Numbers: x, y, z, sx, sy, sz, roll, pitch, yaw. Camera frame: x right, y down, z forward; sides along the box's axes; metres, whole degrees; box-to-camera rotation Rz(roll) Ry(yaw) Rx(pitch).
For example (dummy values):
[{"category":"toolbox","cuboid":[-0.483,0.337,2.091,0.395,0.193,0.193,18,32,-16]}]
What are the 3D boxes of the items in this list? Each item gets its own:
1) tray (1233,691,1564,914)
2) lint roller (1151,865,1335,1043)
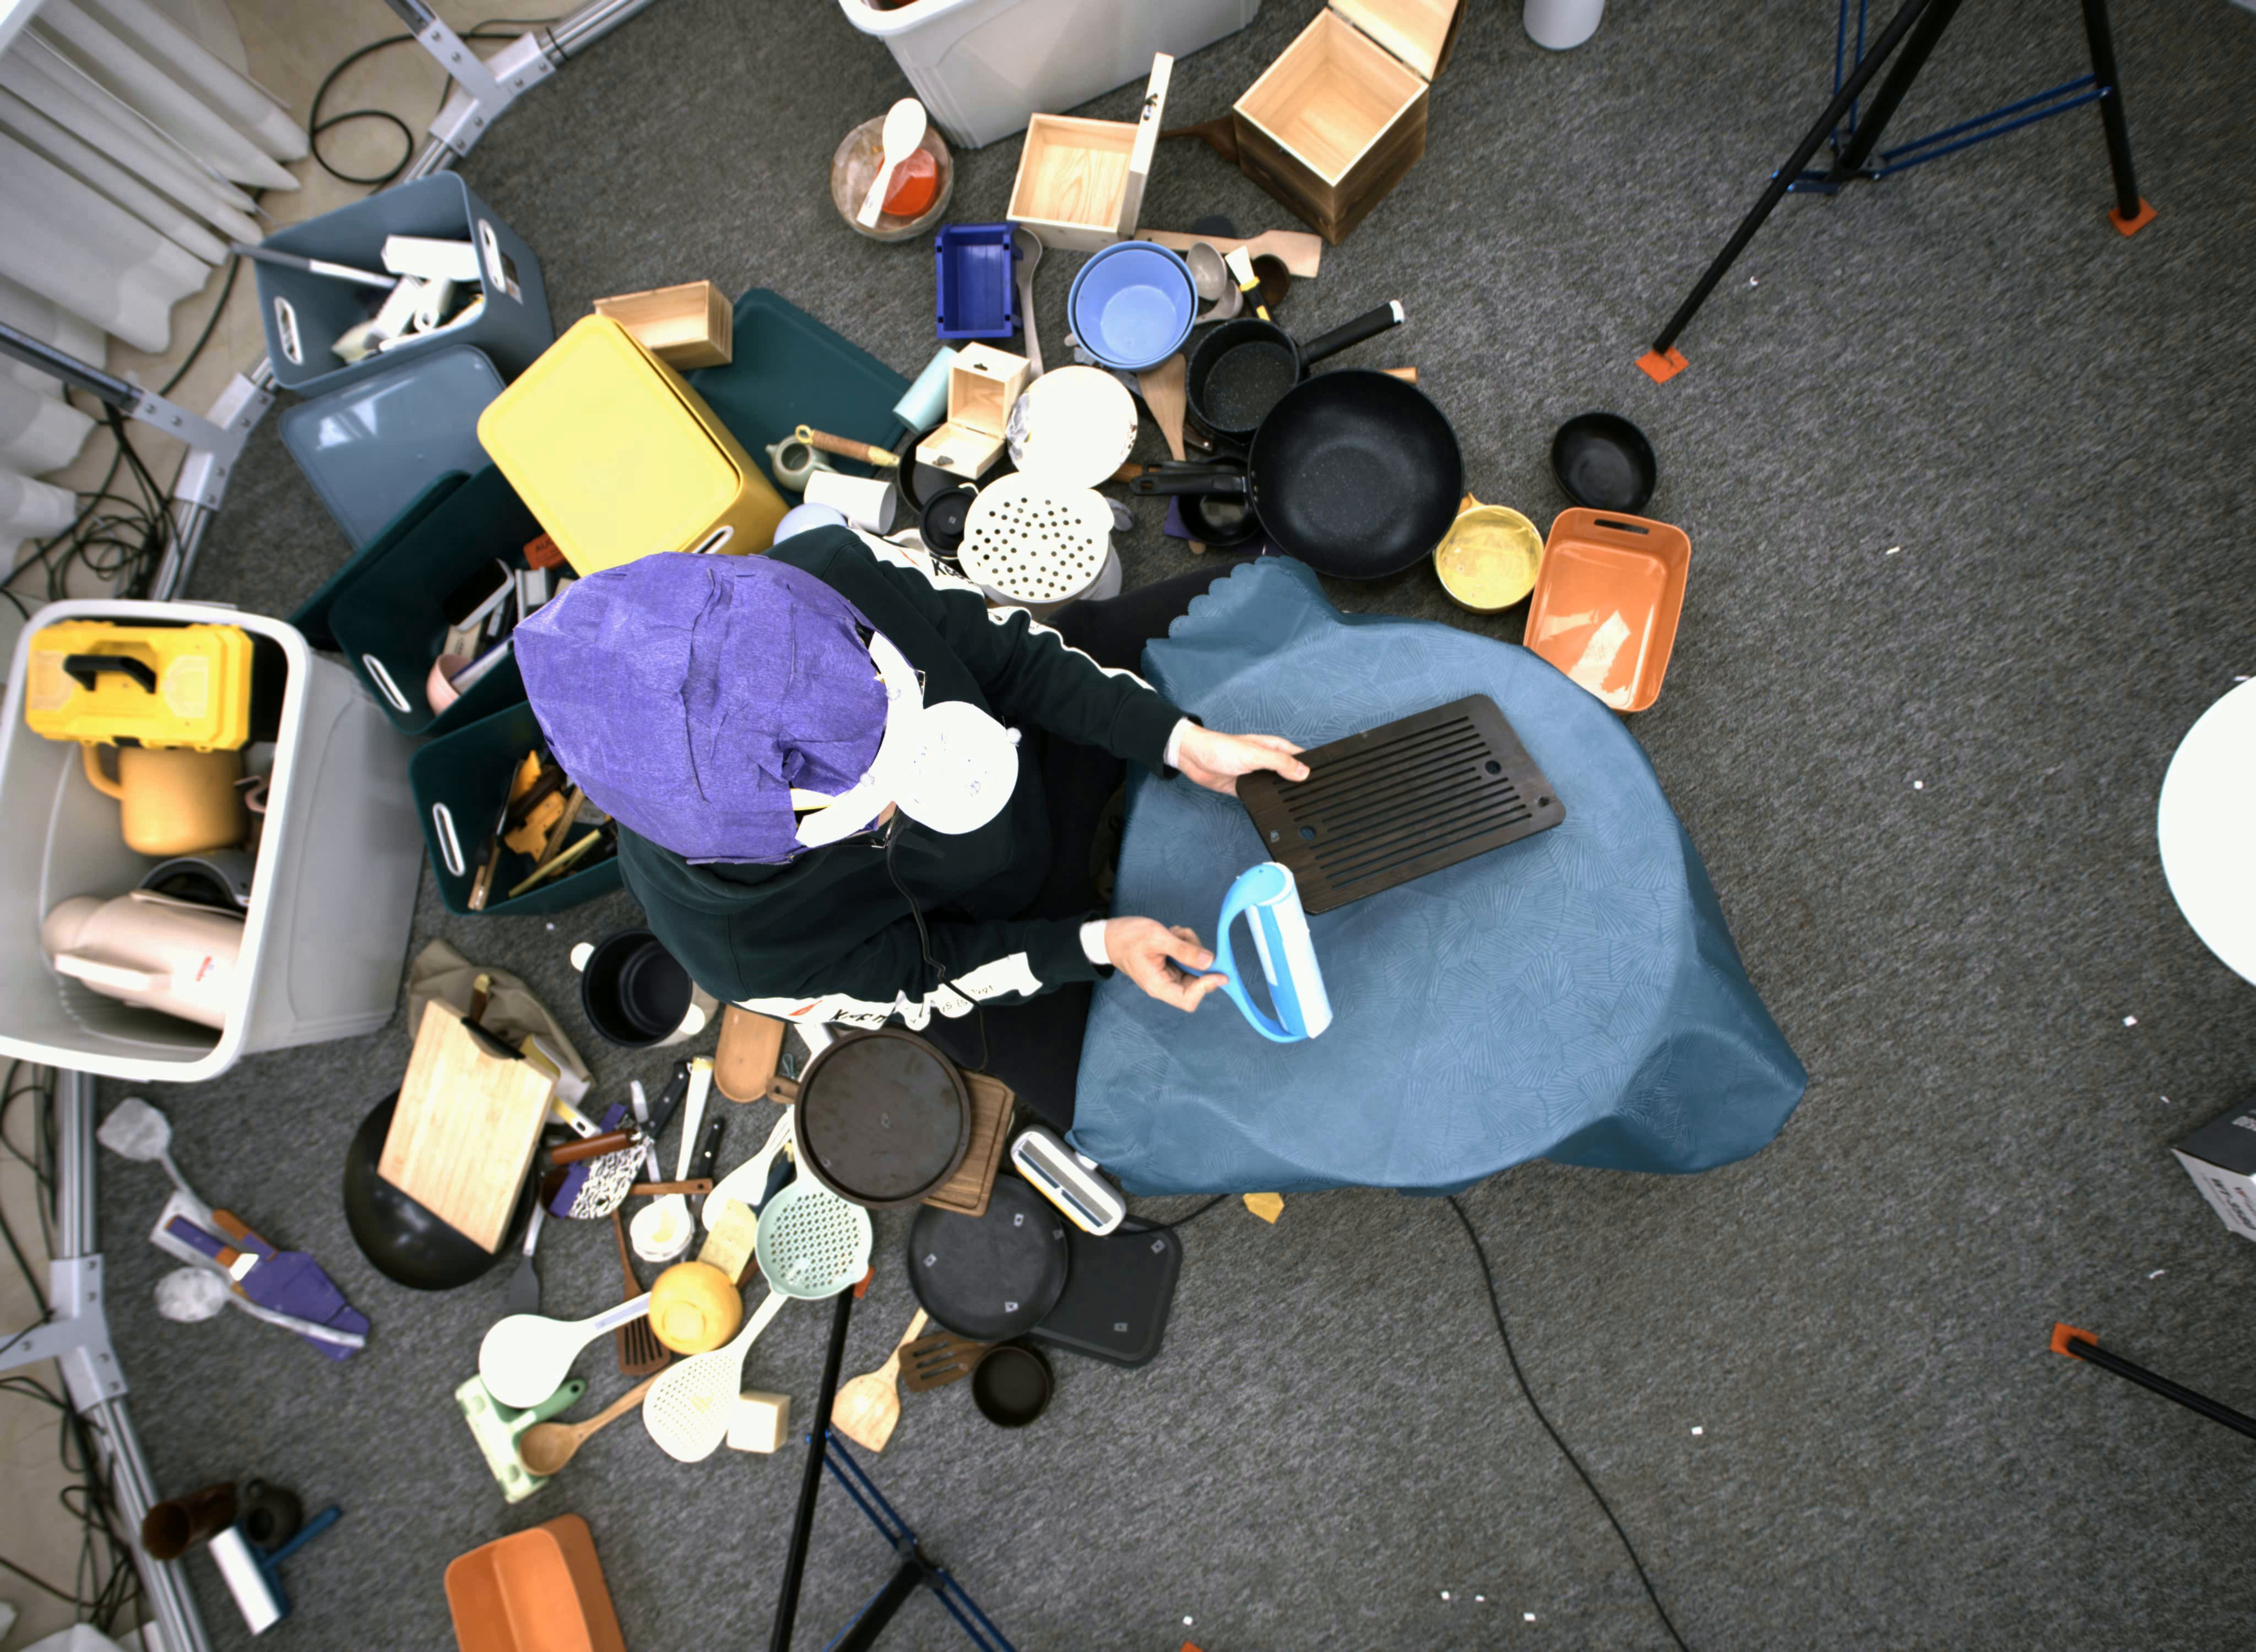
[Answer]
[{"category":"tray","cuboid":[0.272,-0.028,1.379,0.304,0.019,0.167,-19,65,-14]},{"category":"lint roller","cuboid":[0.101,0.128,1.360,0.181,0.233,0.066,-3,45,25]}]
